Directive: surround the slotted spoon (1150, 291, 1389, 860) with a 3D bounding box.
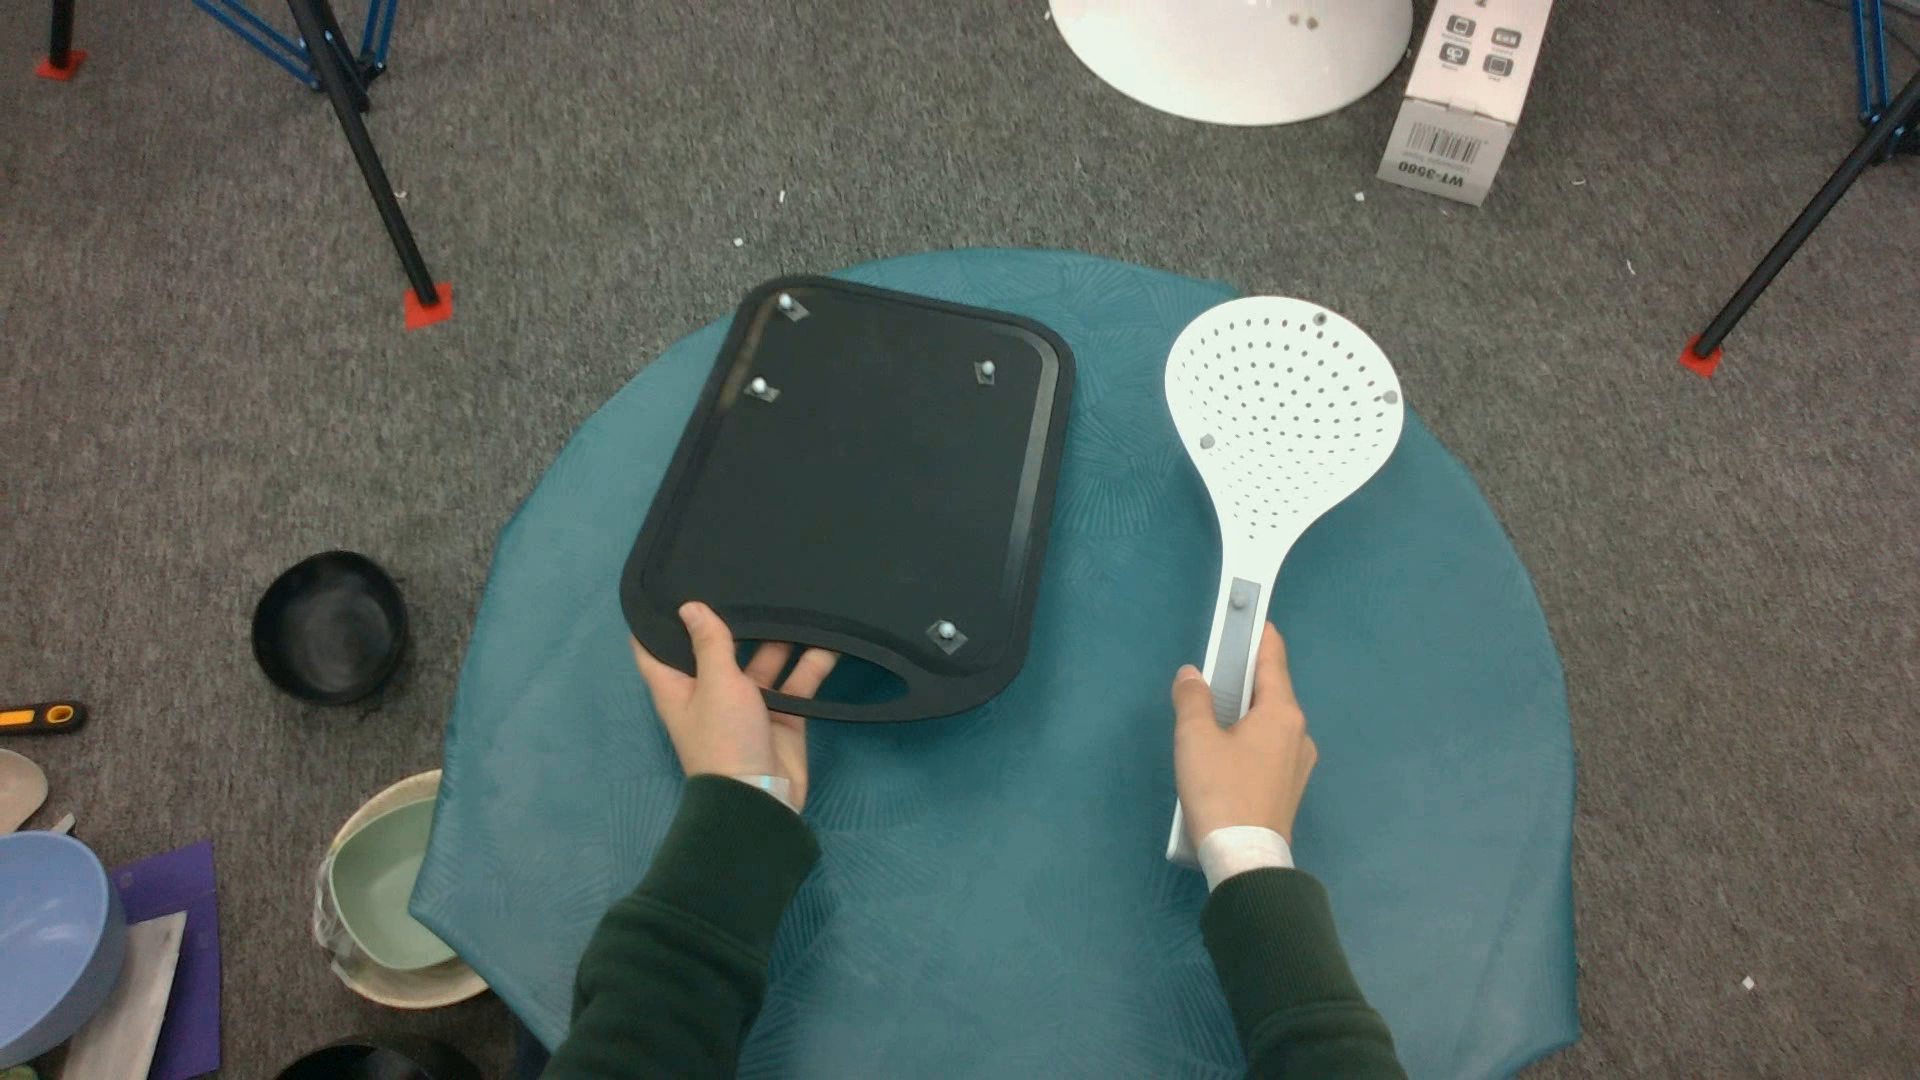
[{"bbox_3d":[0.150,0.005,0.742,0.136,0.045,0.351,15,56,4],"label":"slotted spoon"}]

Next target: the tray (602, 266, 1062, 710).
[{"bbox_3d":[-0.059,-0.043,0.757,0.211,0.010,0.327,11,48,2],"label":"tray"}]
